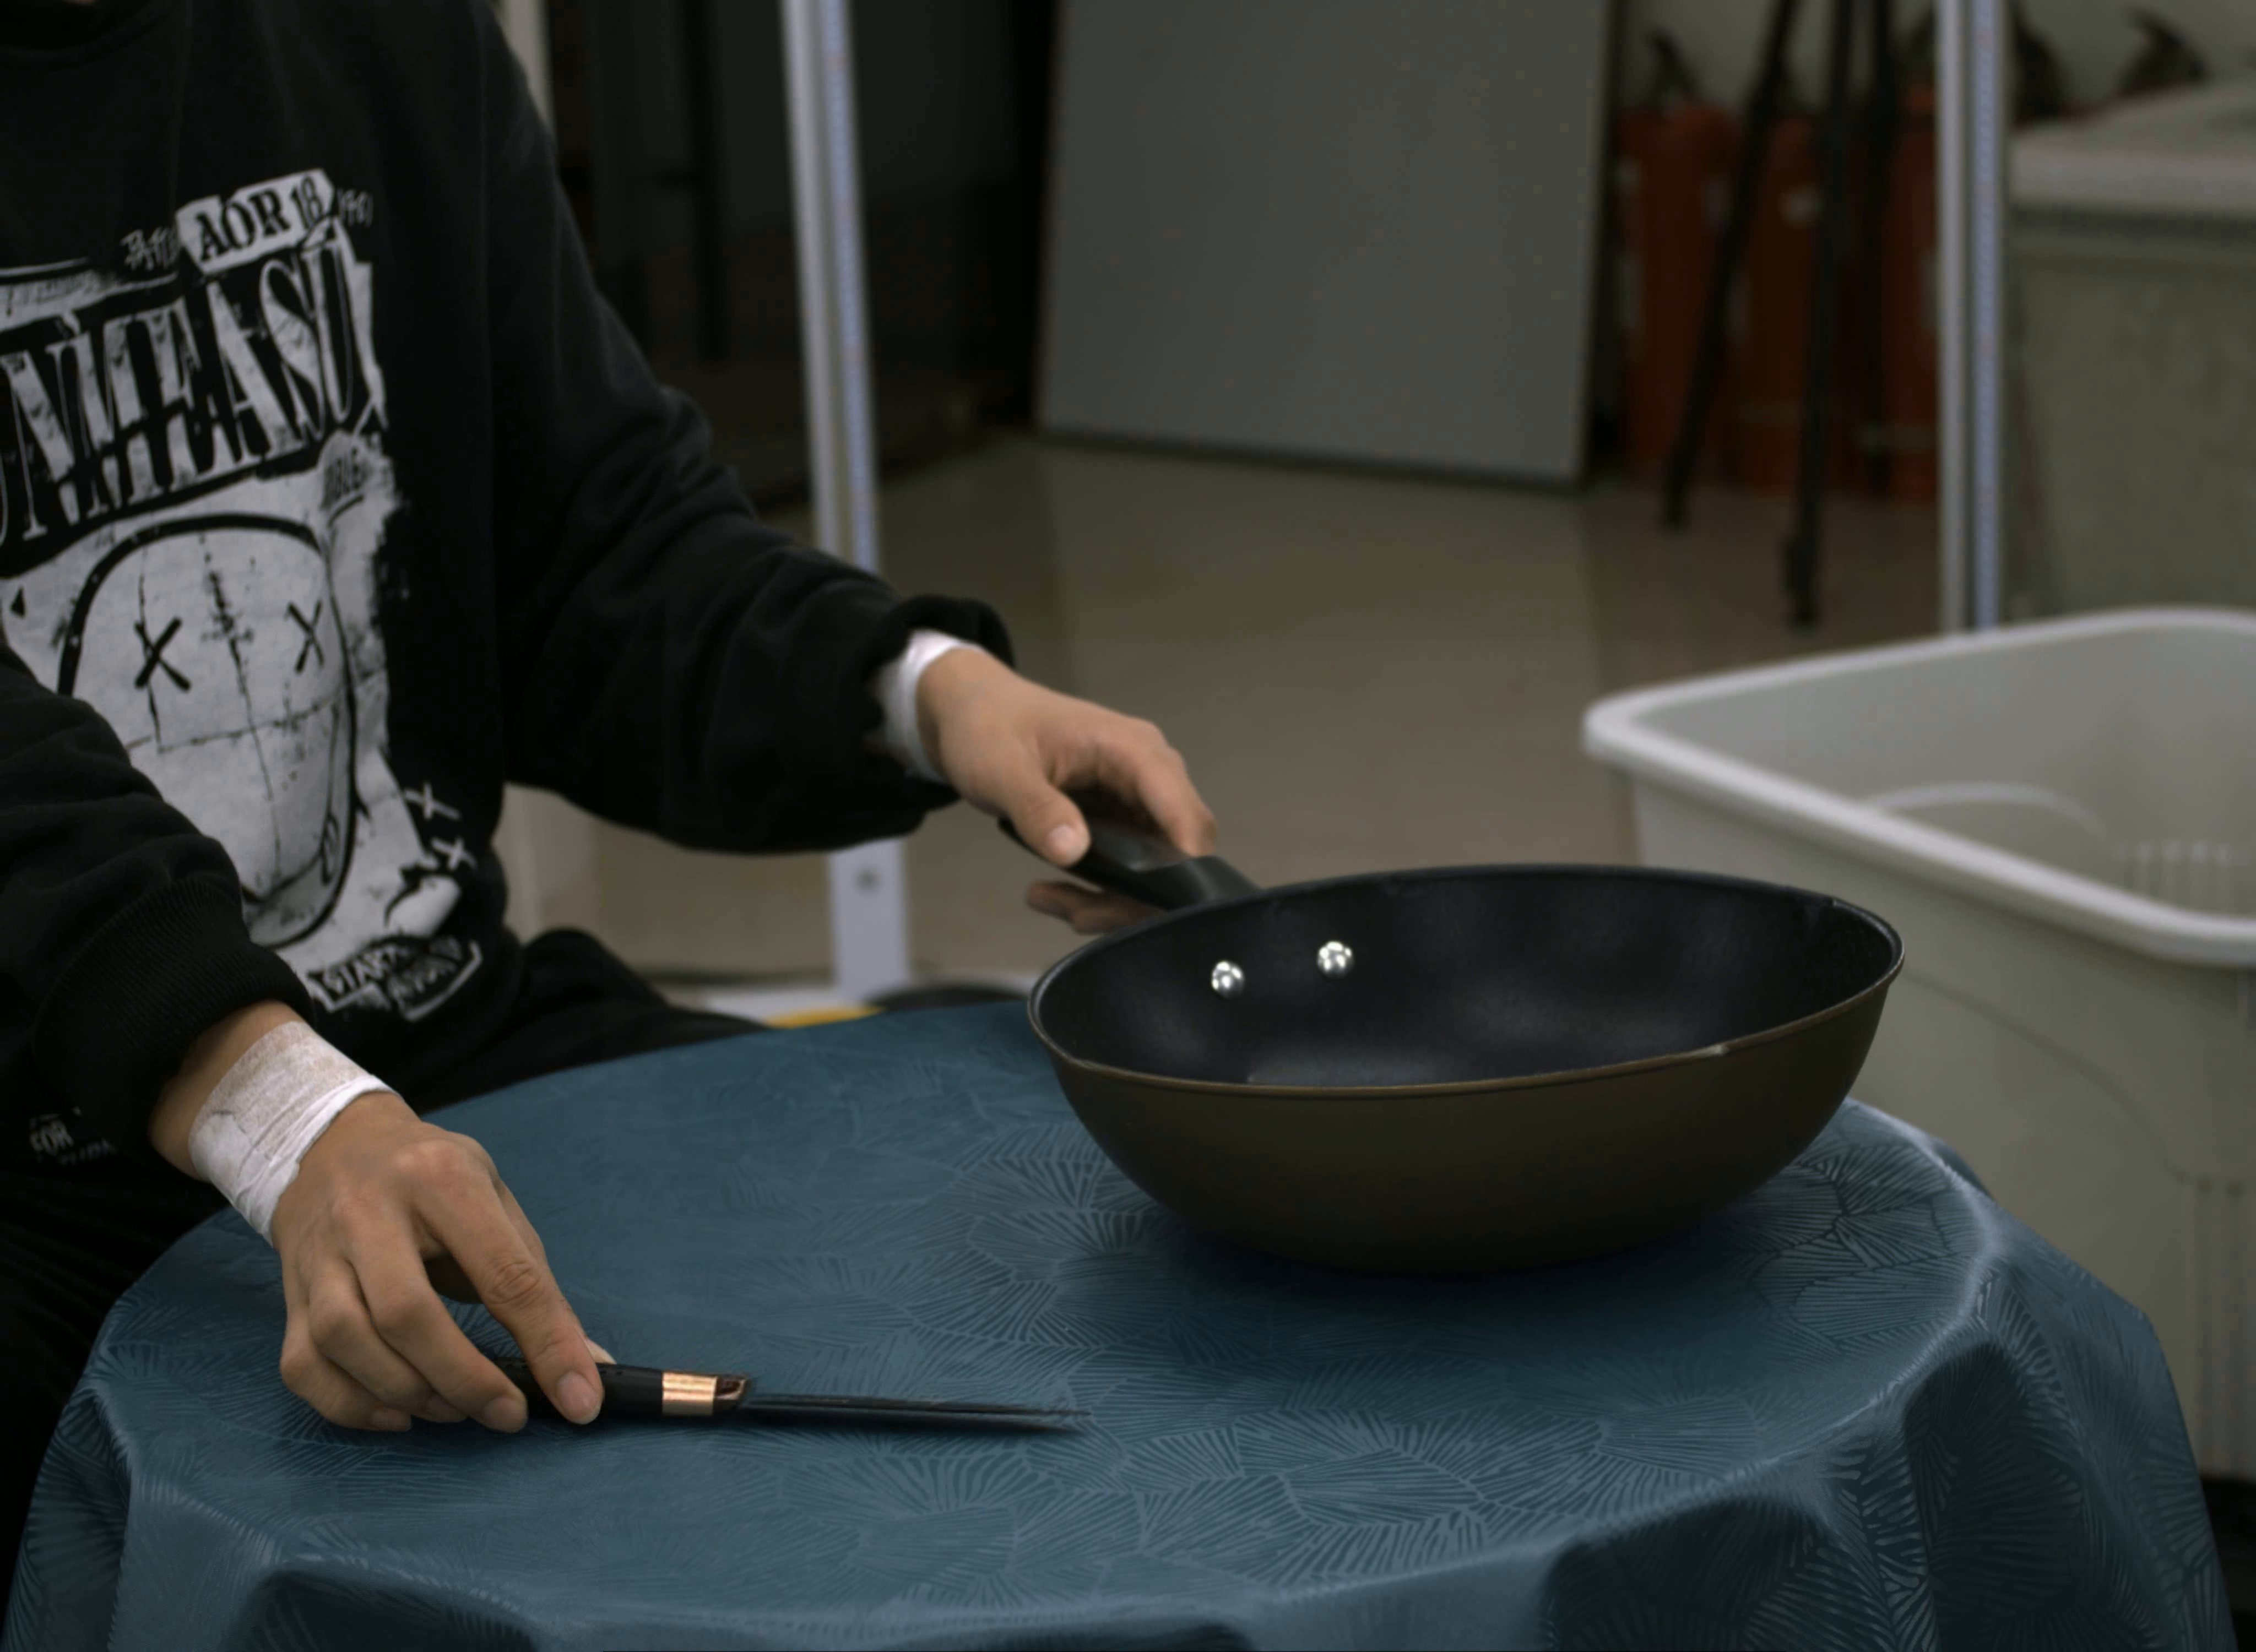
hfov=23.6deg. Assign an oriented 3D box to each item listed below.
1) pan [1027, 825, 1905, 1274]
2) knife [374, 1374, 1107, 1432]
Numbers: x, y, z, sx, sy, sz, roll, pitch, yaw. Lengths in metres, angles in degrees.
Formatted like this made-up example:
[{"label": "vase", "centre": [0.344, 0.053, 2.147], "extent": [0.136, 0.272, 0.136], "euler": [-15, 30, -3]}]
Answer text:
[{"label": "pan", "centre": [0.070, 0.069, 1.798], "extent": [0.282, 0.088, 0.468], "euler": [-11, 12, -24]}, {"label": "knife", "centre": [-0.115, 0.170, 1.591], "extent": [0.224, 0.017, 0.026], "euler": [-1, -10, 16]}]
